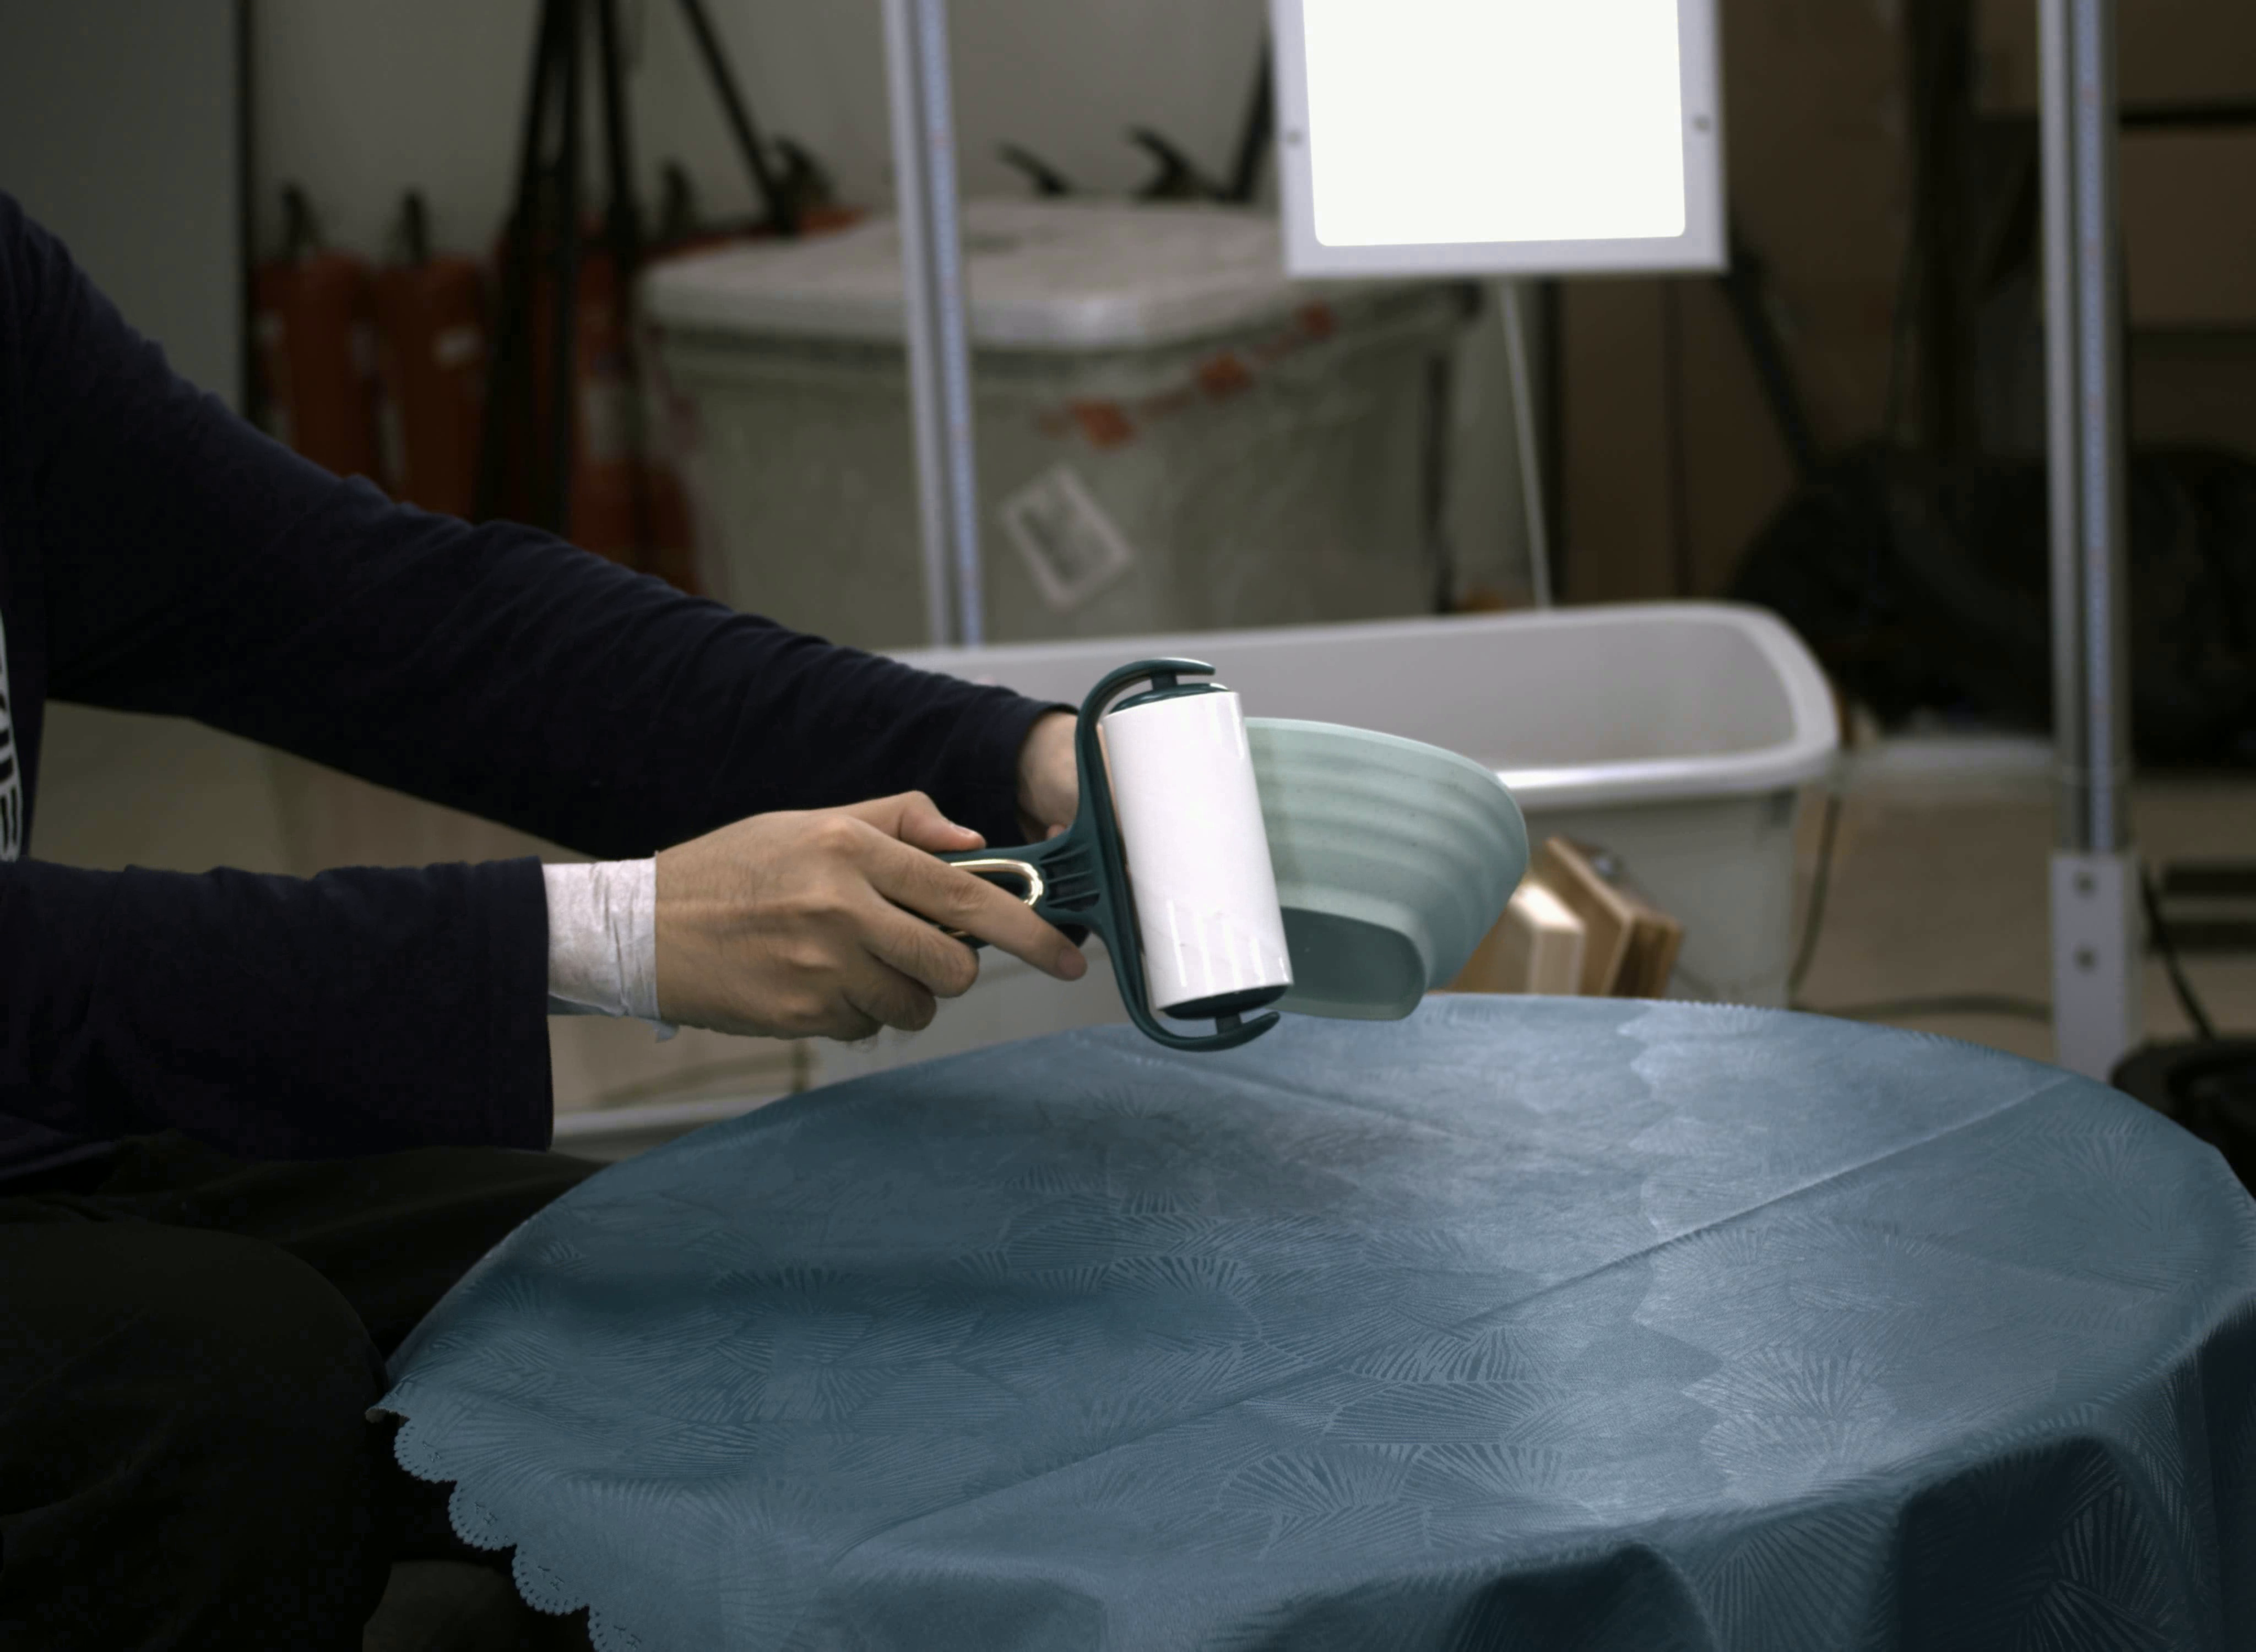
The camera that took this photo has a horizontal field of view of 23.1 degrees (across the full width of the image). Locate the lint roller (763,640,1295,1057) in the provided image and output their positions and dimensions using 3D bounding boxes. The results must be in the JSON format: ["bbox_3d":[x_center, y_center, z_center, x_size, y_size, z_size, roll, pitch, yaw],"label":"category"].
[{"bbox_3d":[-0.041,0.022,1.834,0.181,0.135,0.048,-12,-6,12],"label":"lint roller"}]

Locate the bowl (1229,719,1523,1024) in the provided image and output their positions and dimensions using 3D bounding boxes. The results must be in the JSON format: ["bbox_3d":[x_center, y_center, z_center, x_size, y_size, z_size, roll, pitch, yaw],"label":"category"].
[{"bbox_3d":[0.063,0.022,1.888,0.151,0.058,0.152,13,-24,4],"label":"bowl"}]
